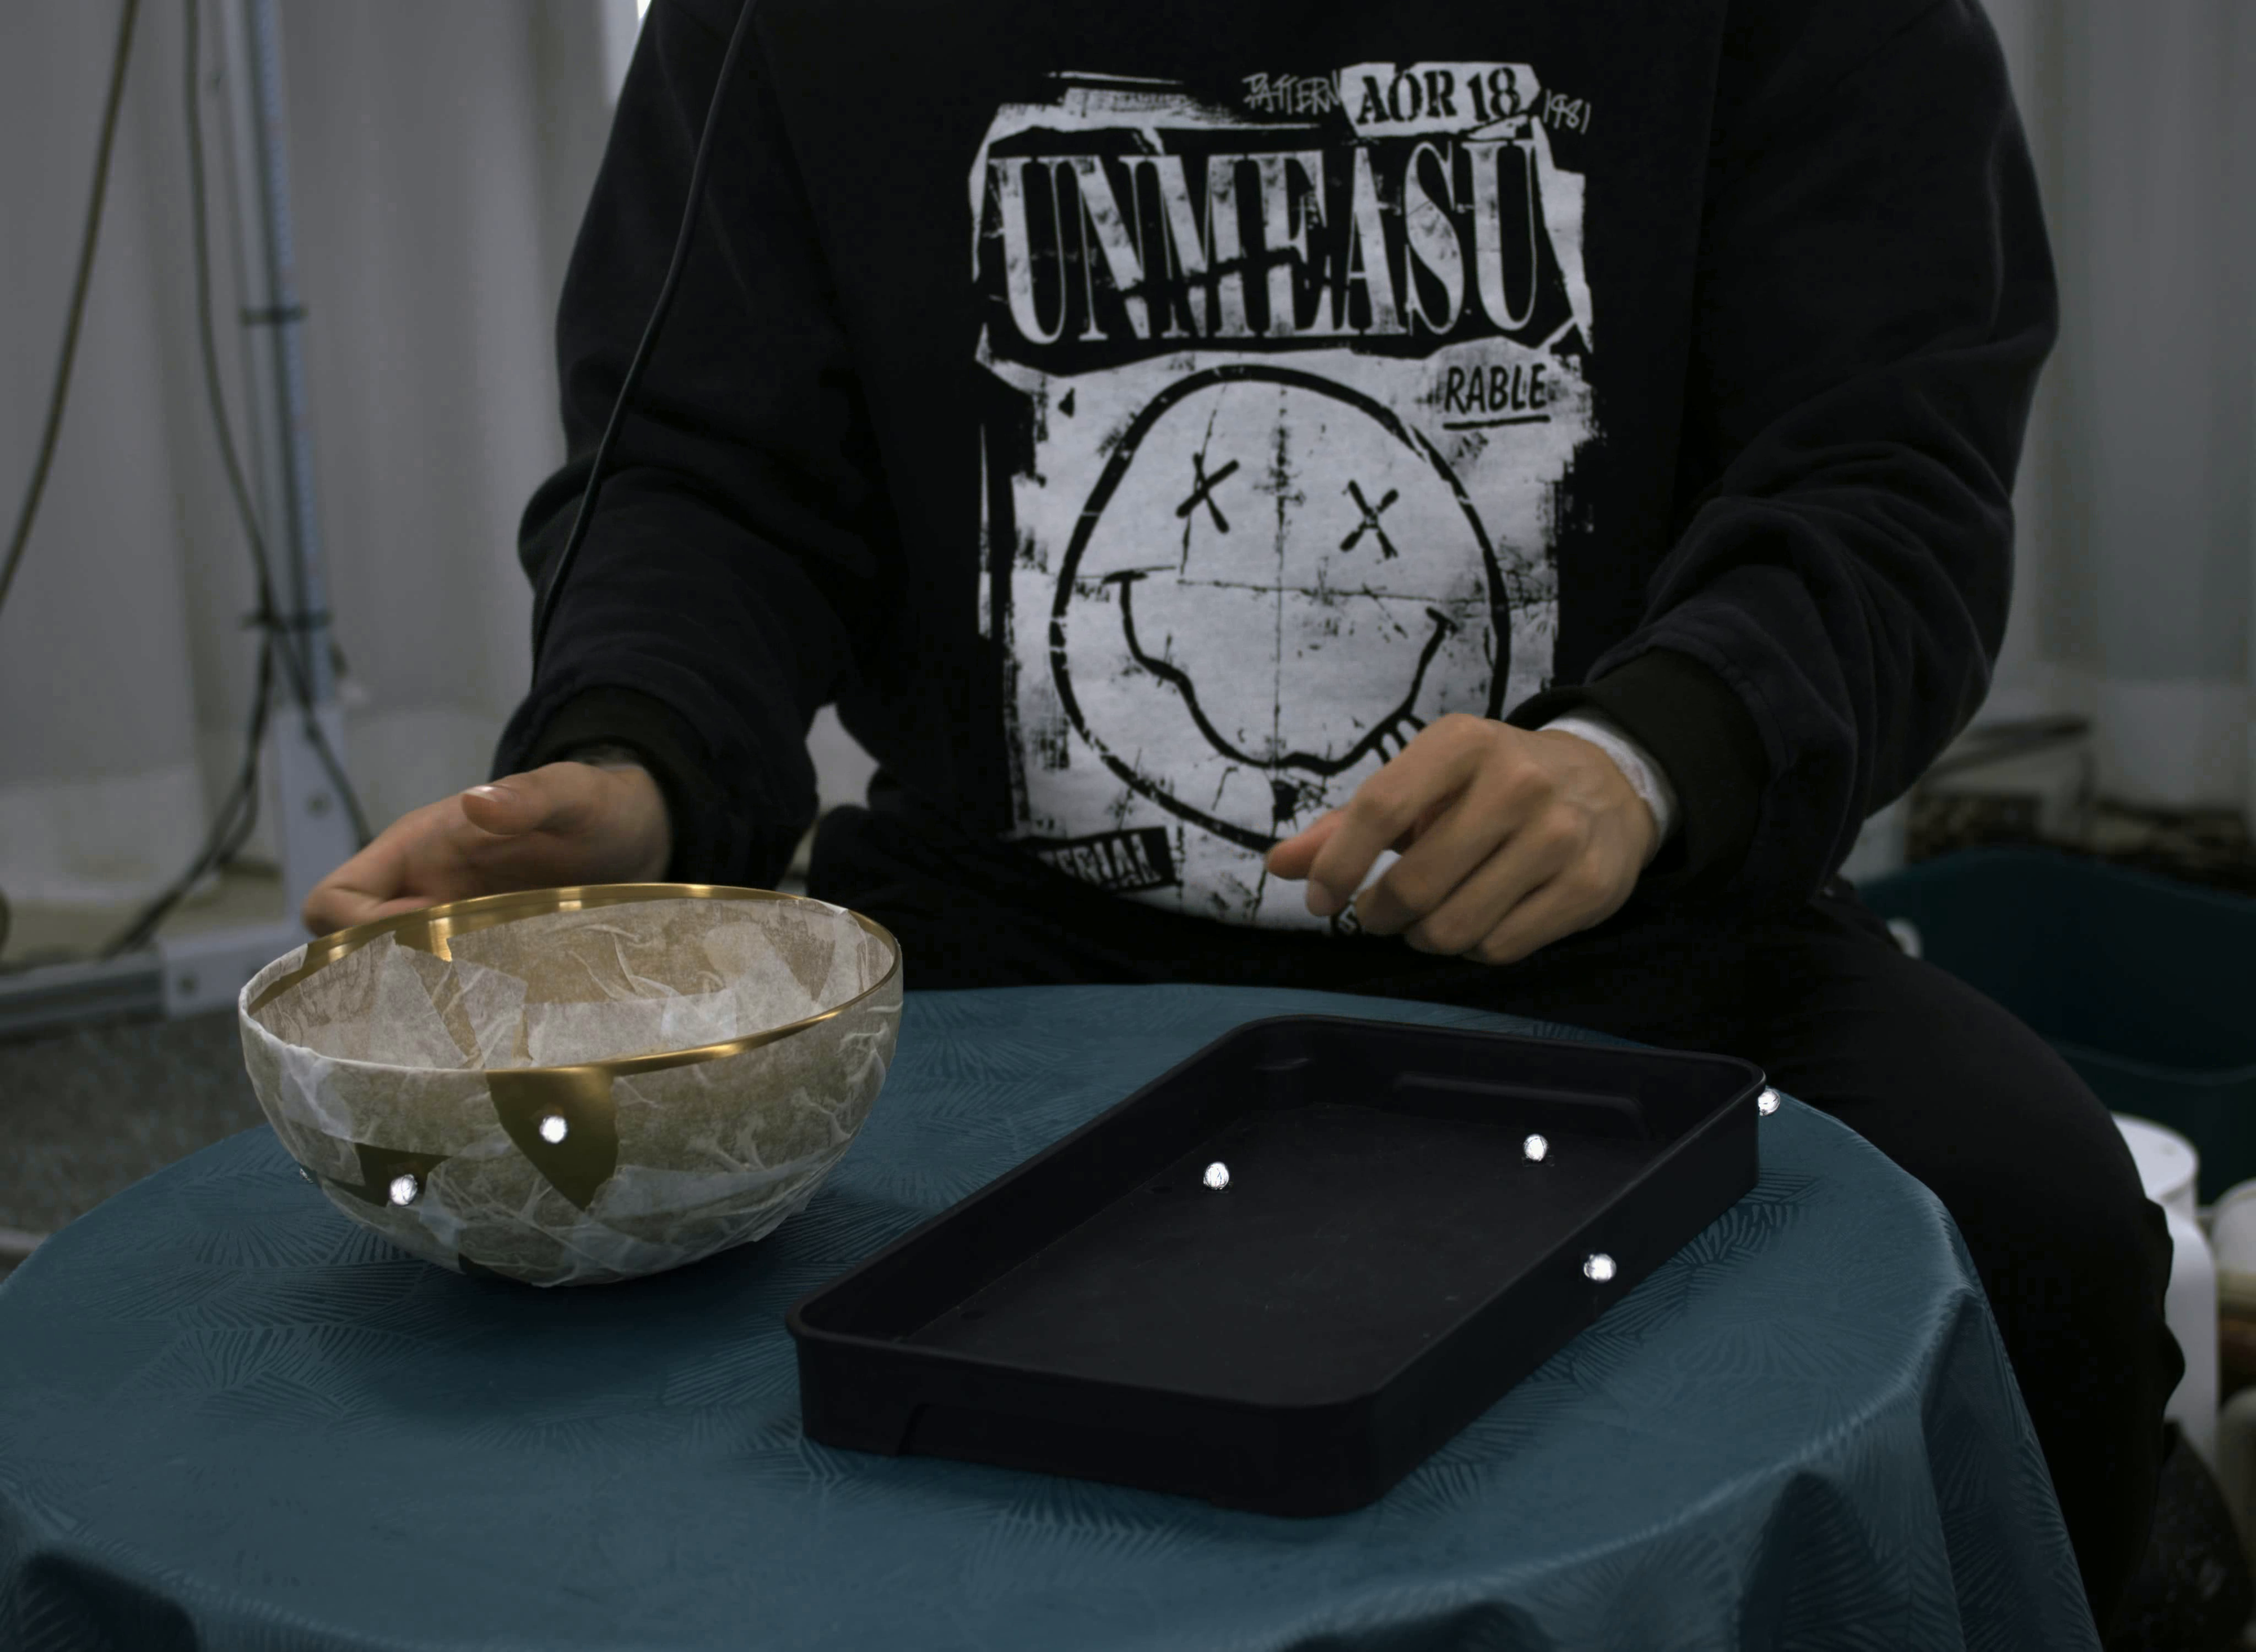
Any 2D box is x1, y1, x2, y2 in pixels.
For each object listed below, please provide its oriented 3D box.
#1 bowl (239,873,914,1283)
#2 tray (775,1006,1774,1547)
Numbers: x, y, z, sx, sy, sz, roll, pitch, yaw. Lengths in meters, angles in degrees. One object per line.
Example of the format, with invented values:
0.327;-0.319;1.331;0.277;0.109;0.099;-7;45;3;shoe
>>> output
-0.162;0.085;1.674;0.214;0.094;0.216;-4;14;1;bowl
0.051;0.125;1.608;0.185;0.037;0.318;7;19;29;tray
